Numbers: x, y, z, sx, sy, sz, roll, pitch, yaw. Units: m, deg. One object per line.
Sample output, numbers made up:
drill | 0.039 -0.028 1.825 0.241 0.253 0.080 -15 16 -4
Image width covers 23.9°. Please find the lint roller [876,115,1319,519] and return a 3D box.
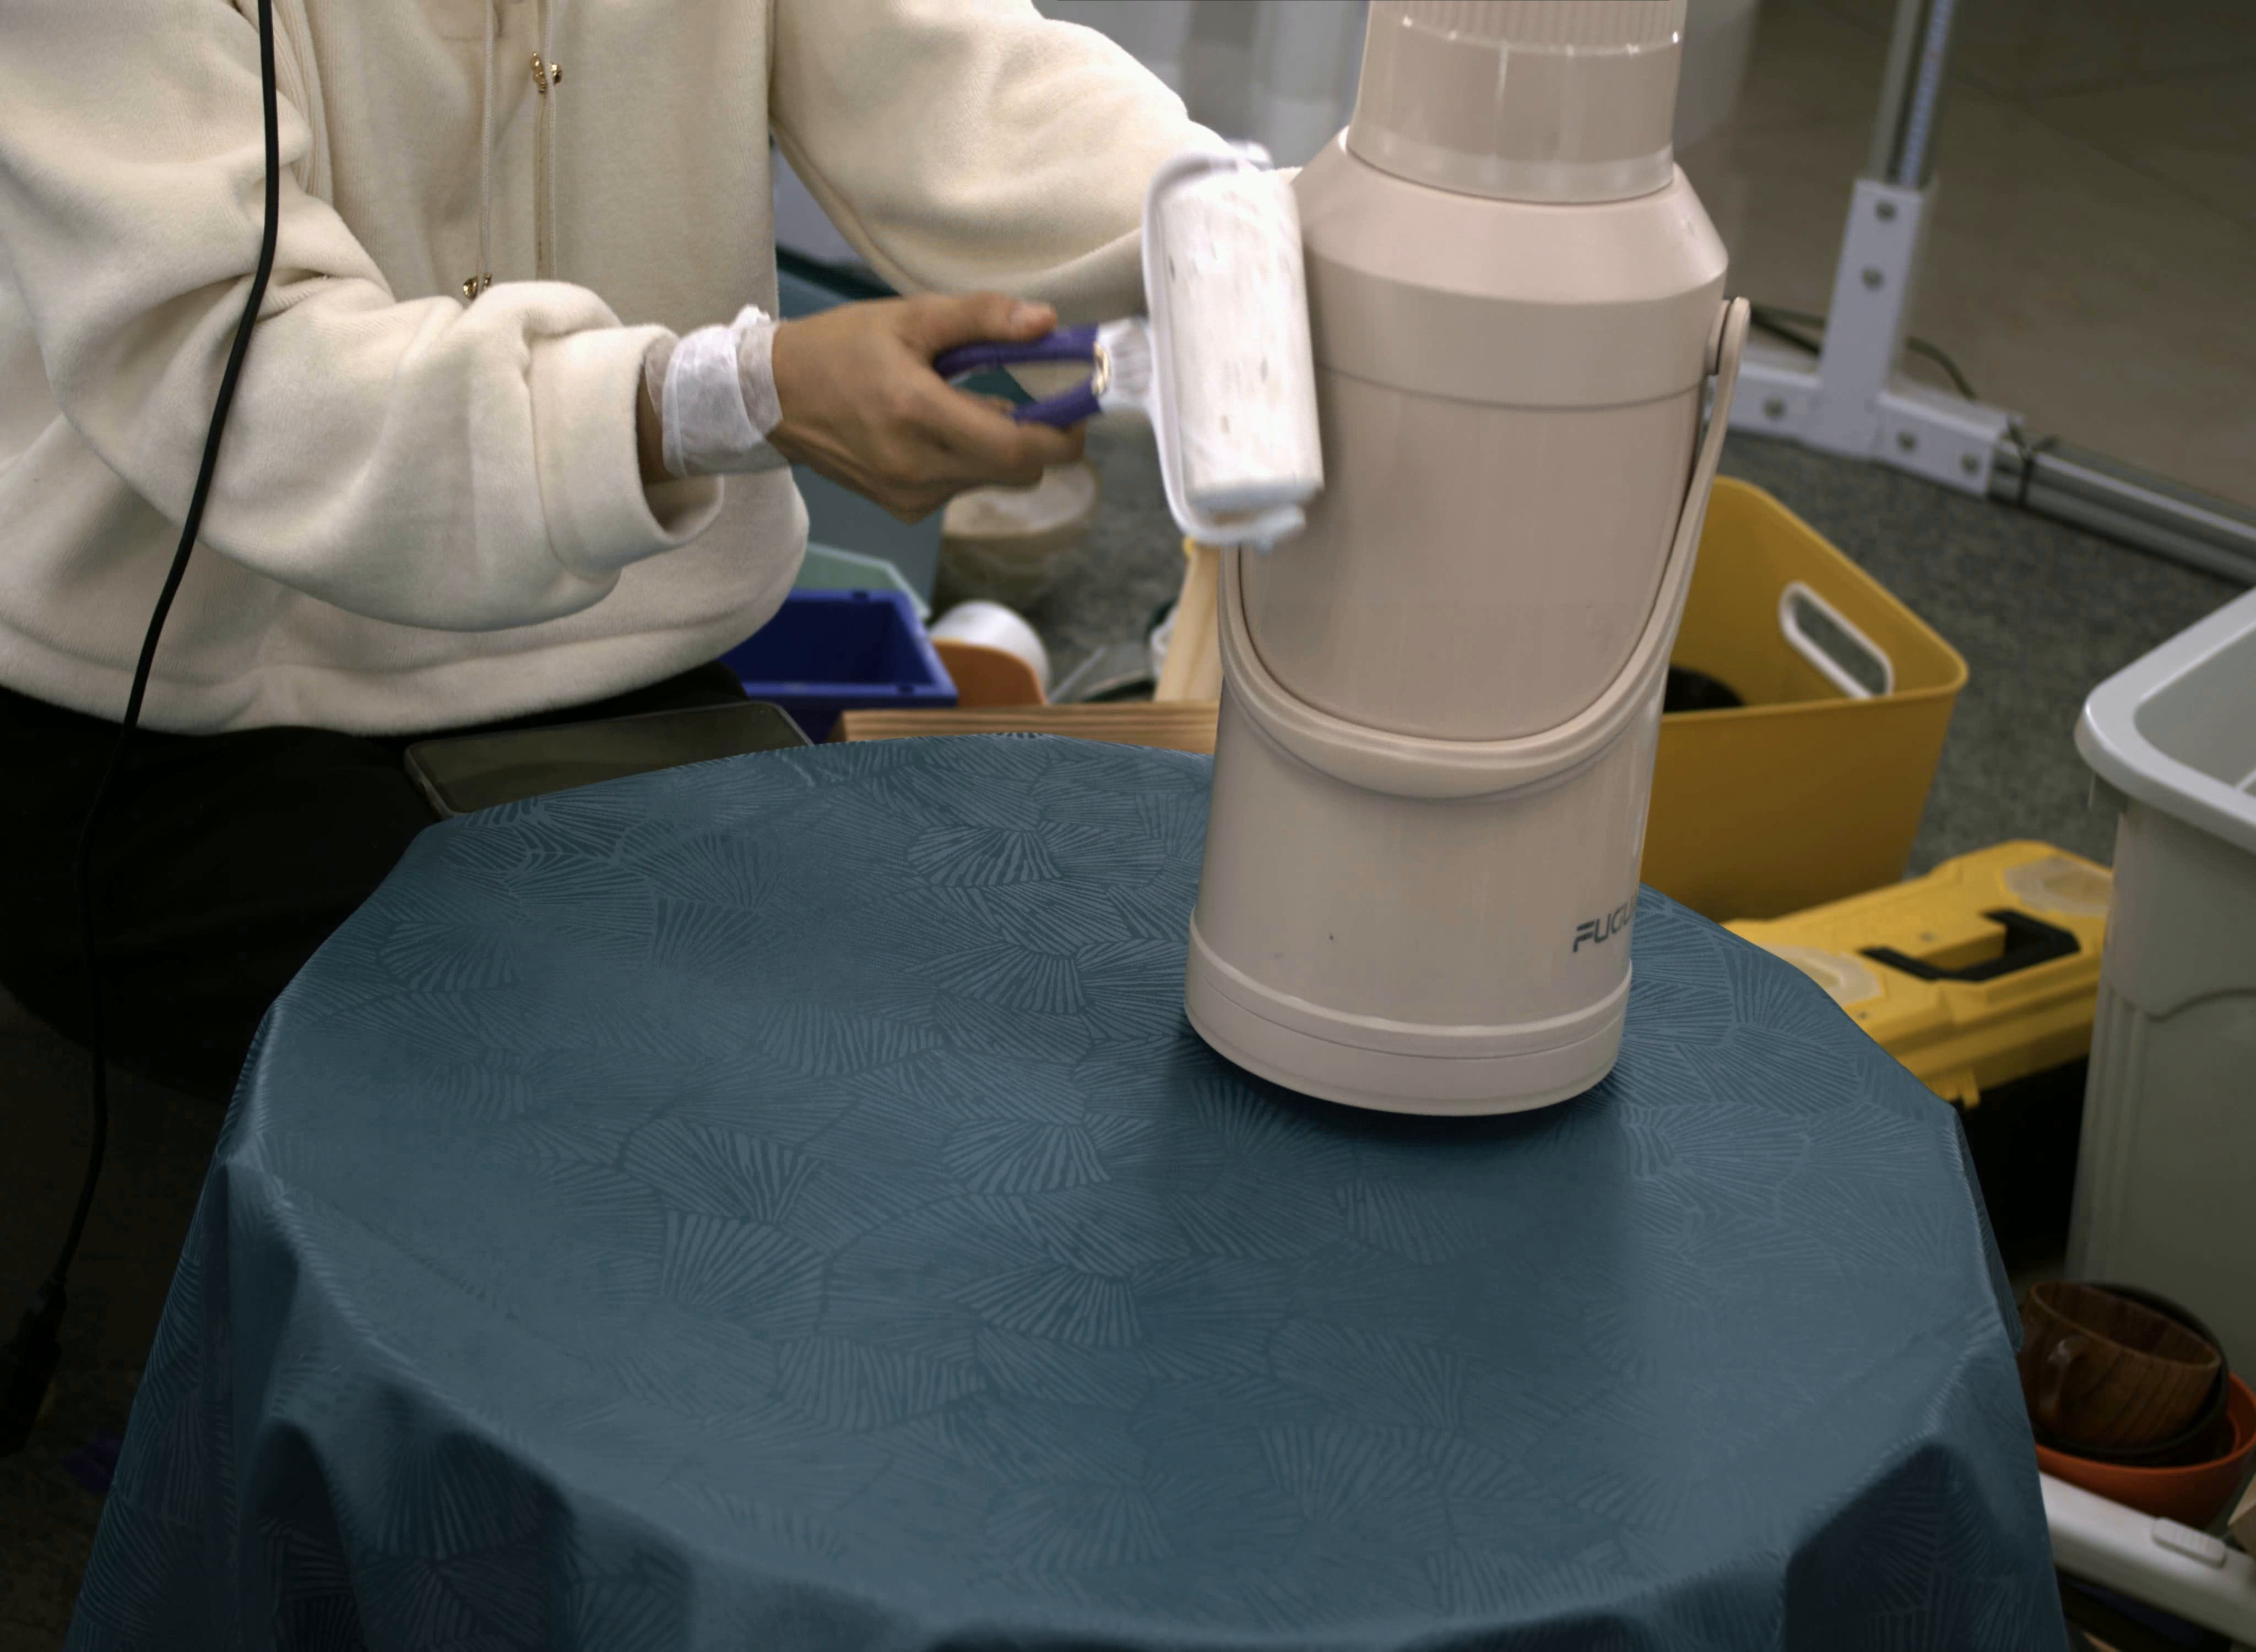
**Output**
lint roller | -0.020 -0.161 1.784 0.181 0.133 0.050 -6 -3 32

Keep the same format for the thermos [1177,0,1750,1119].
thermos | 0.121 -0.116 1.853 0.175 0.405 0.207 10 22 12
